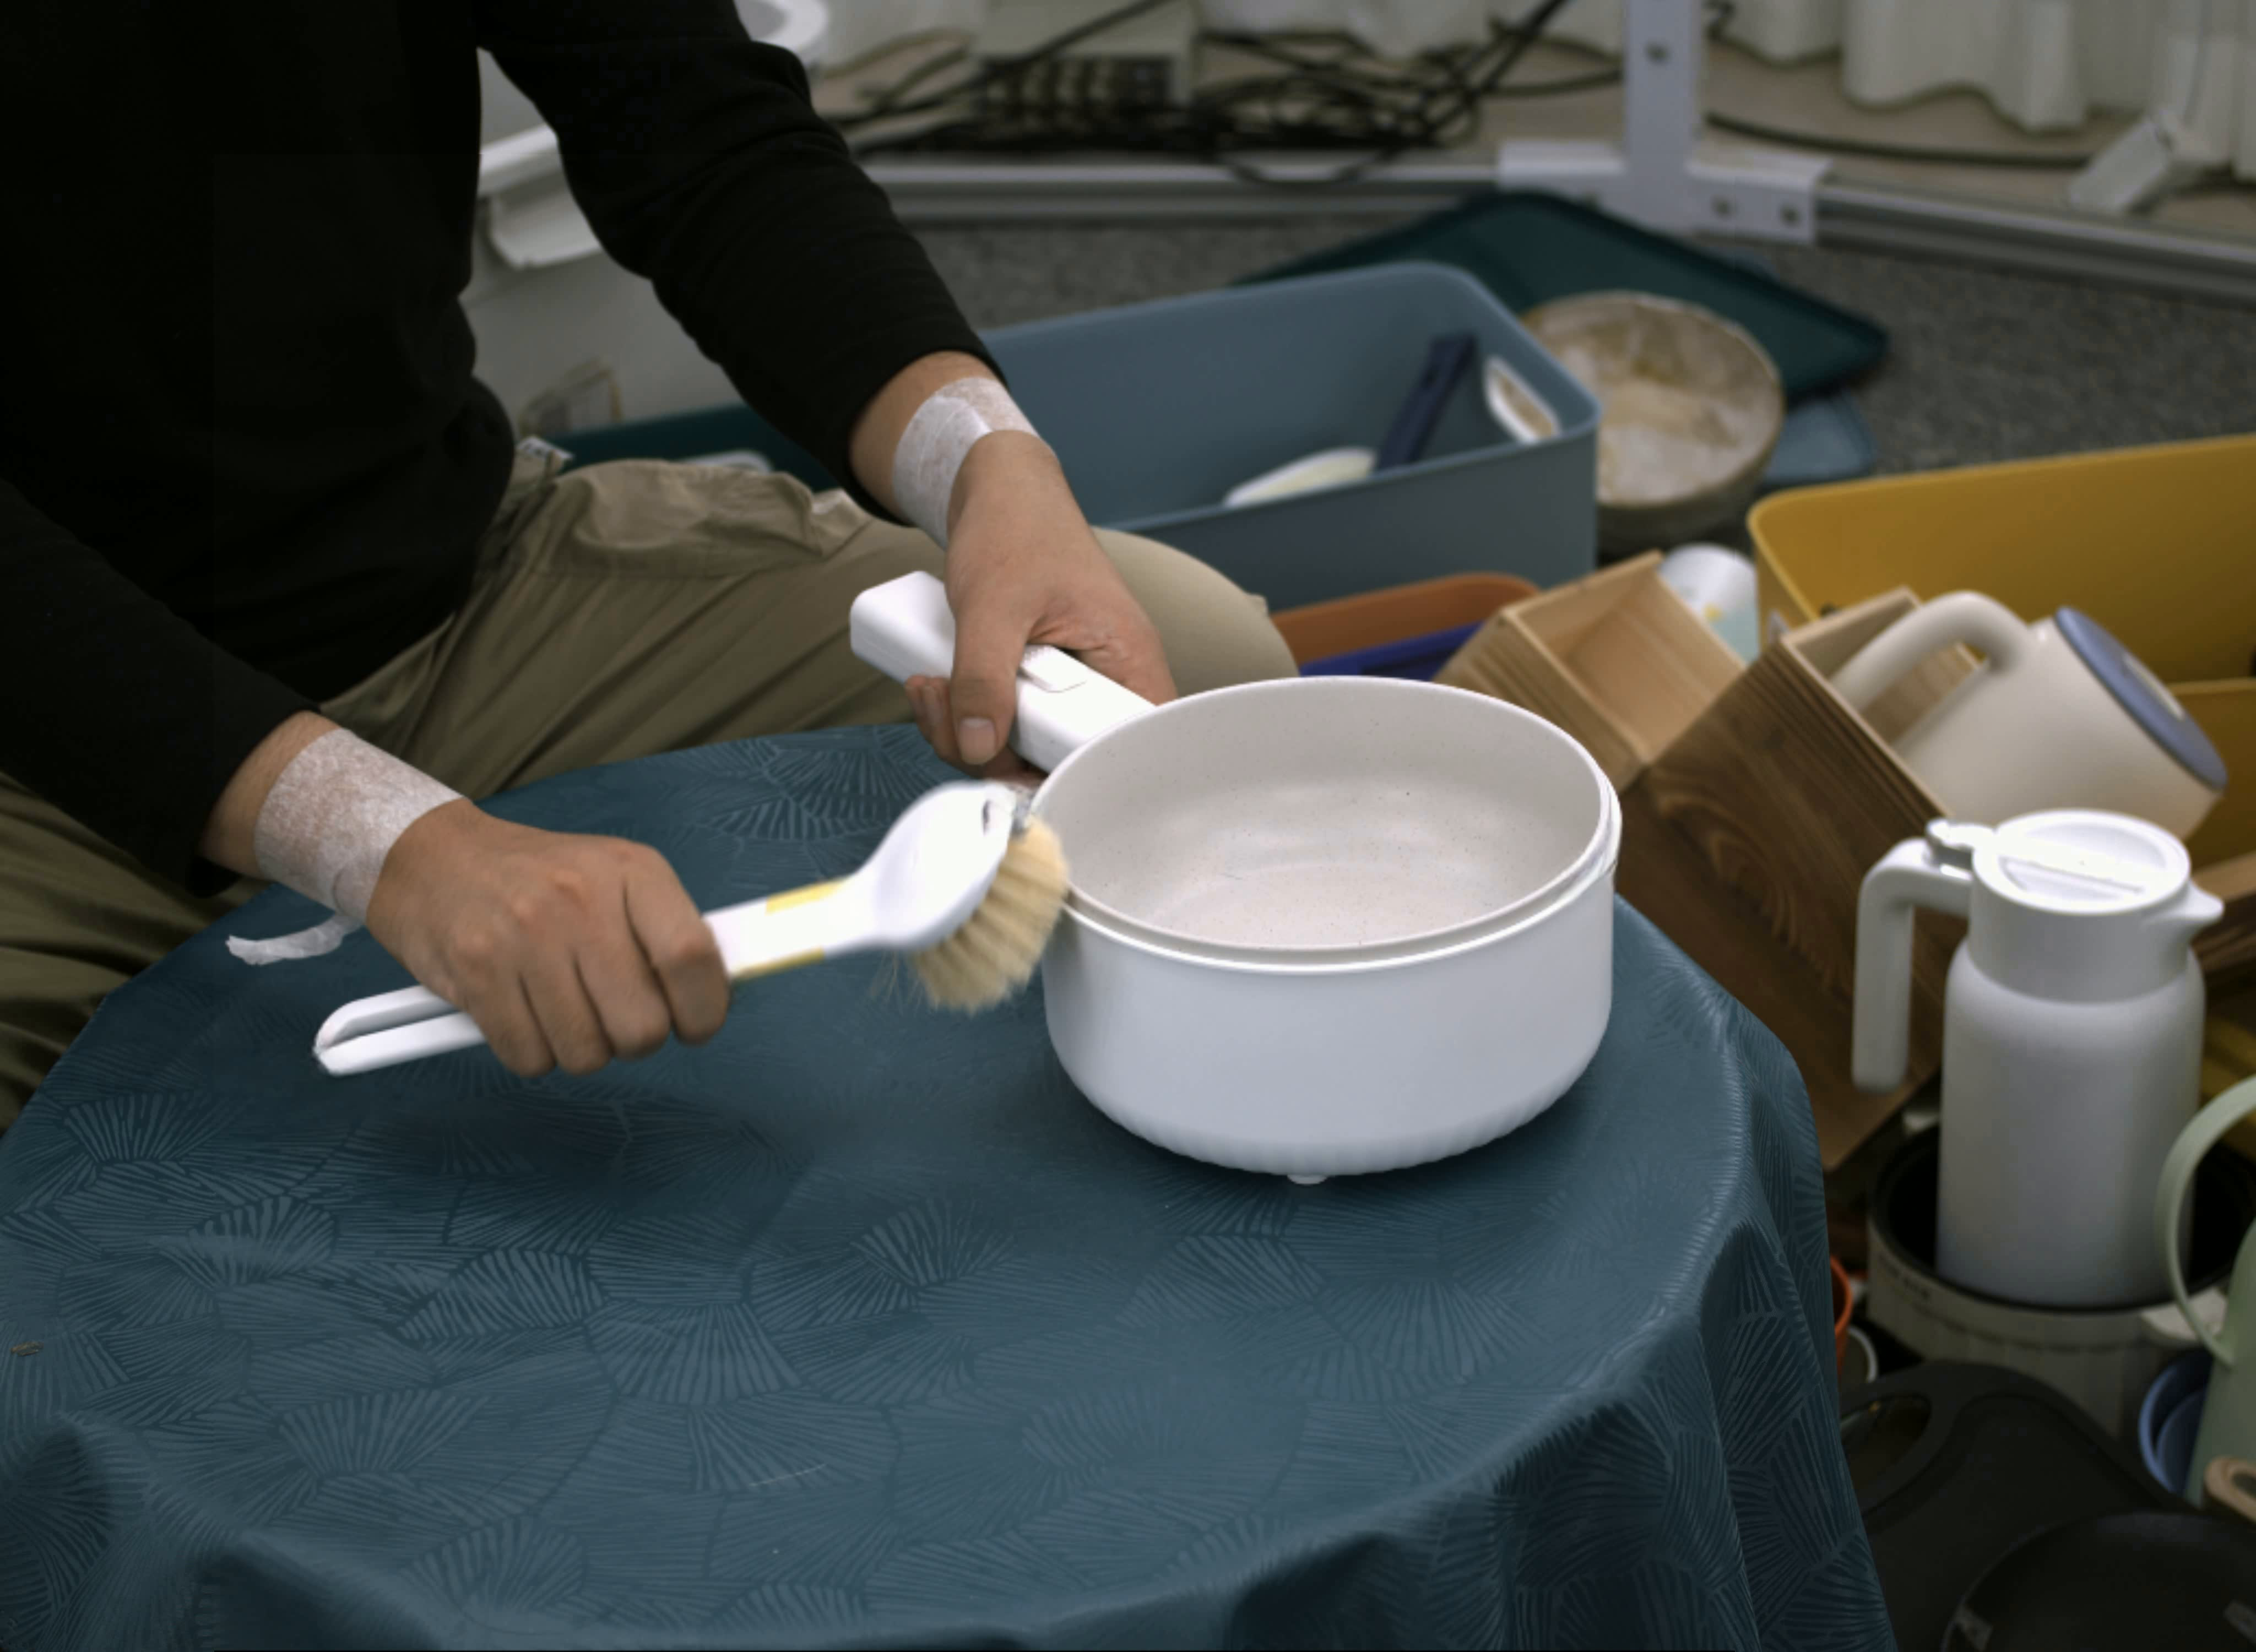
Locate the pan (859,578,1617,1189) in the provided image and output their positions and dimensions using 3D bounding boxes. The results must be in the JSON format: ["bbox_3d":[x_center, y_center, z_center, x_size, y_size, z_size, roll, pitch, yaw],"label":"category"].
[{"bbox_3d":[0.021,0.014,1.965,0.203,0.101,0.355,-22,32,-31],"label":"pan"}]

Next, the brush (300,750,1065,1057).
[{"bbox_3d":[-0.146,0.044,1.872,0.264,0.055,0.070,-20,35,11],"label":"brush"}]
